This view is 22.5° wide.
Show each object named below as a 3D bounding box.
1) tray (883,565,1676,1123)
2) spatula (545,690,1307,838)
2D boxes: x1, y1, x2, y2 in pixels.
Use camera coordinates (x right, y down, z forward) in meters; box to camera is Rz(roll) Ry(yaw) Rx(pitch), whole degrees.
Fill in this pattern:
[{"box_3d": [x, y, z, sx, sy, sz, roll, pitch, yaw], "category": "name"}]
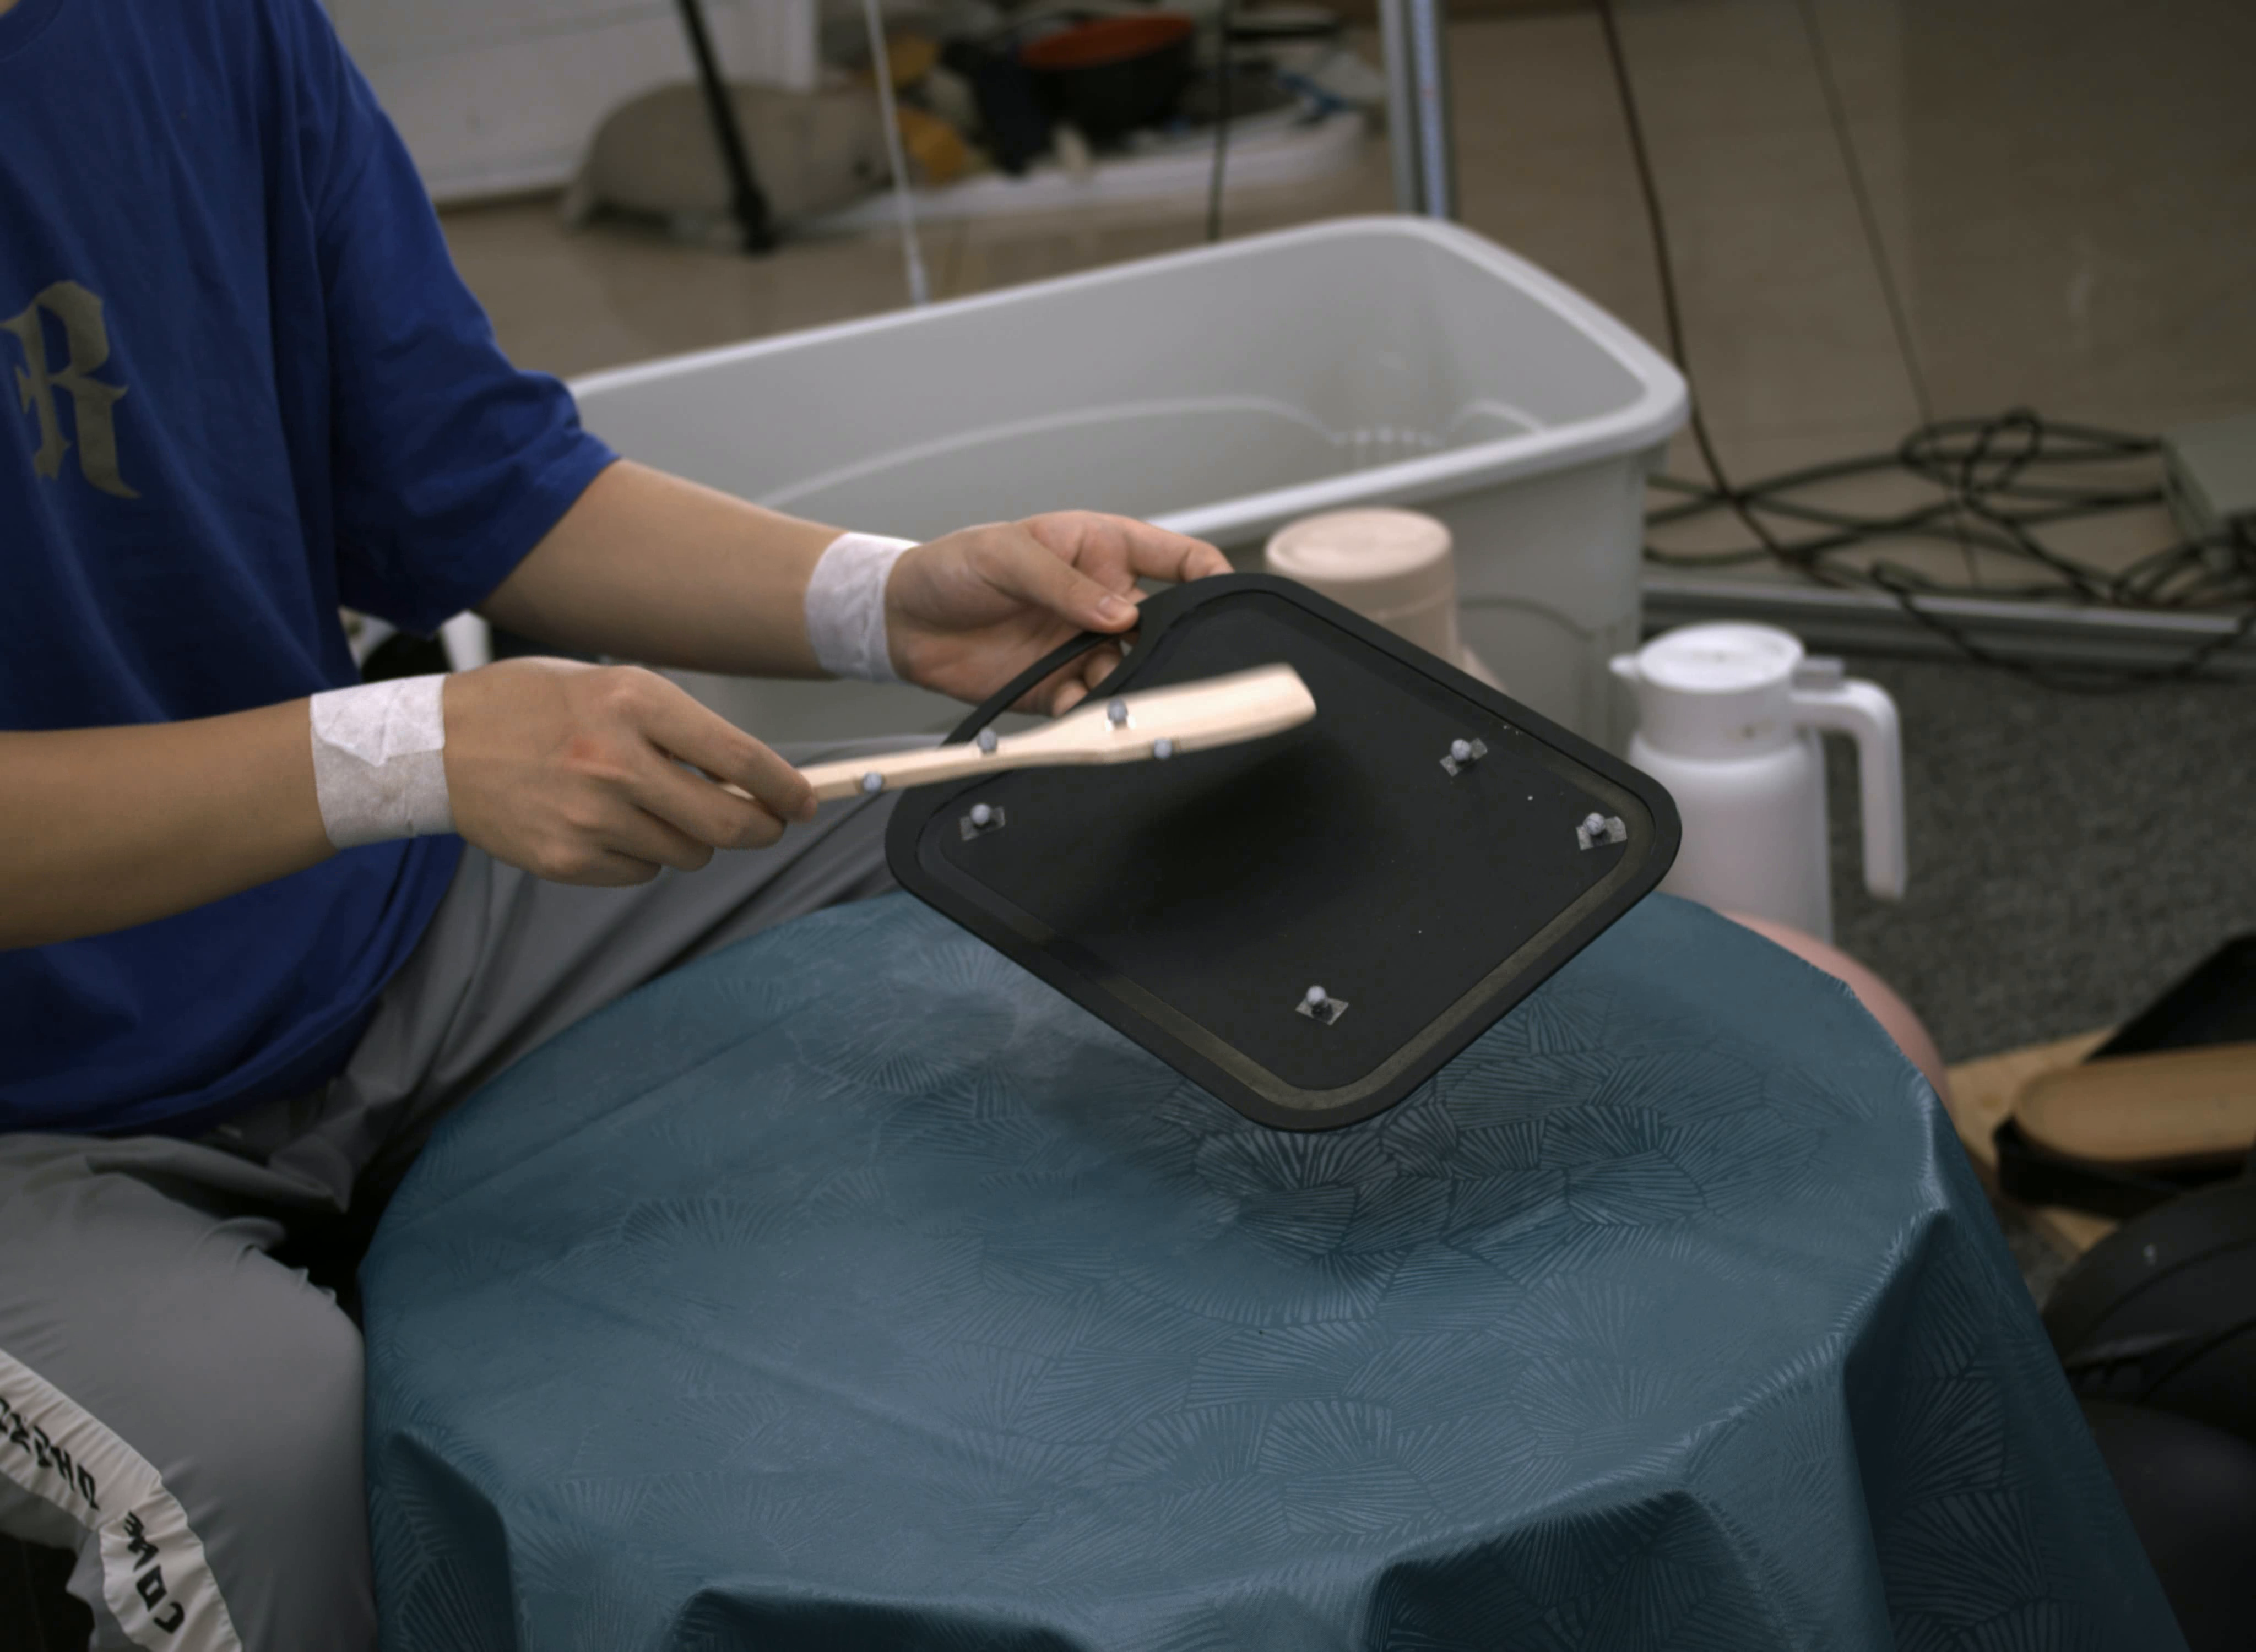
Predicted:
[{"box_3d": [0.047, -0.002, 2.187, 0.209, 0.010, 0.321, -39, 43, -17], "category": "tray"}, {"box_3d": [-0.077, -0.021, 2.165, 0.292, 0.011, 0.071, -9, 13, -5], "category": "spatula"}]
